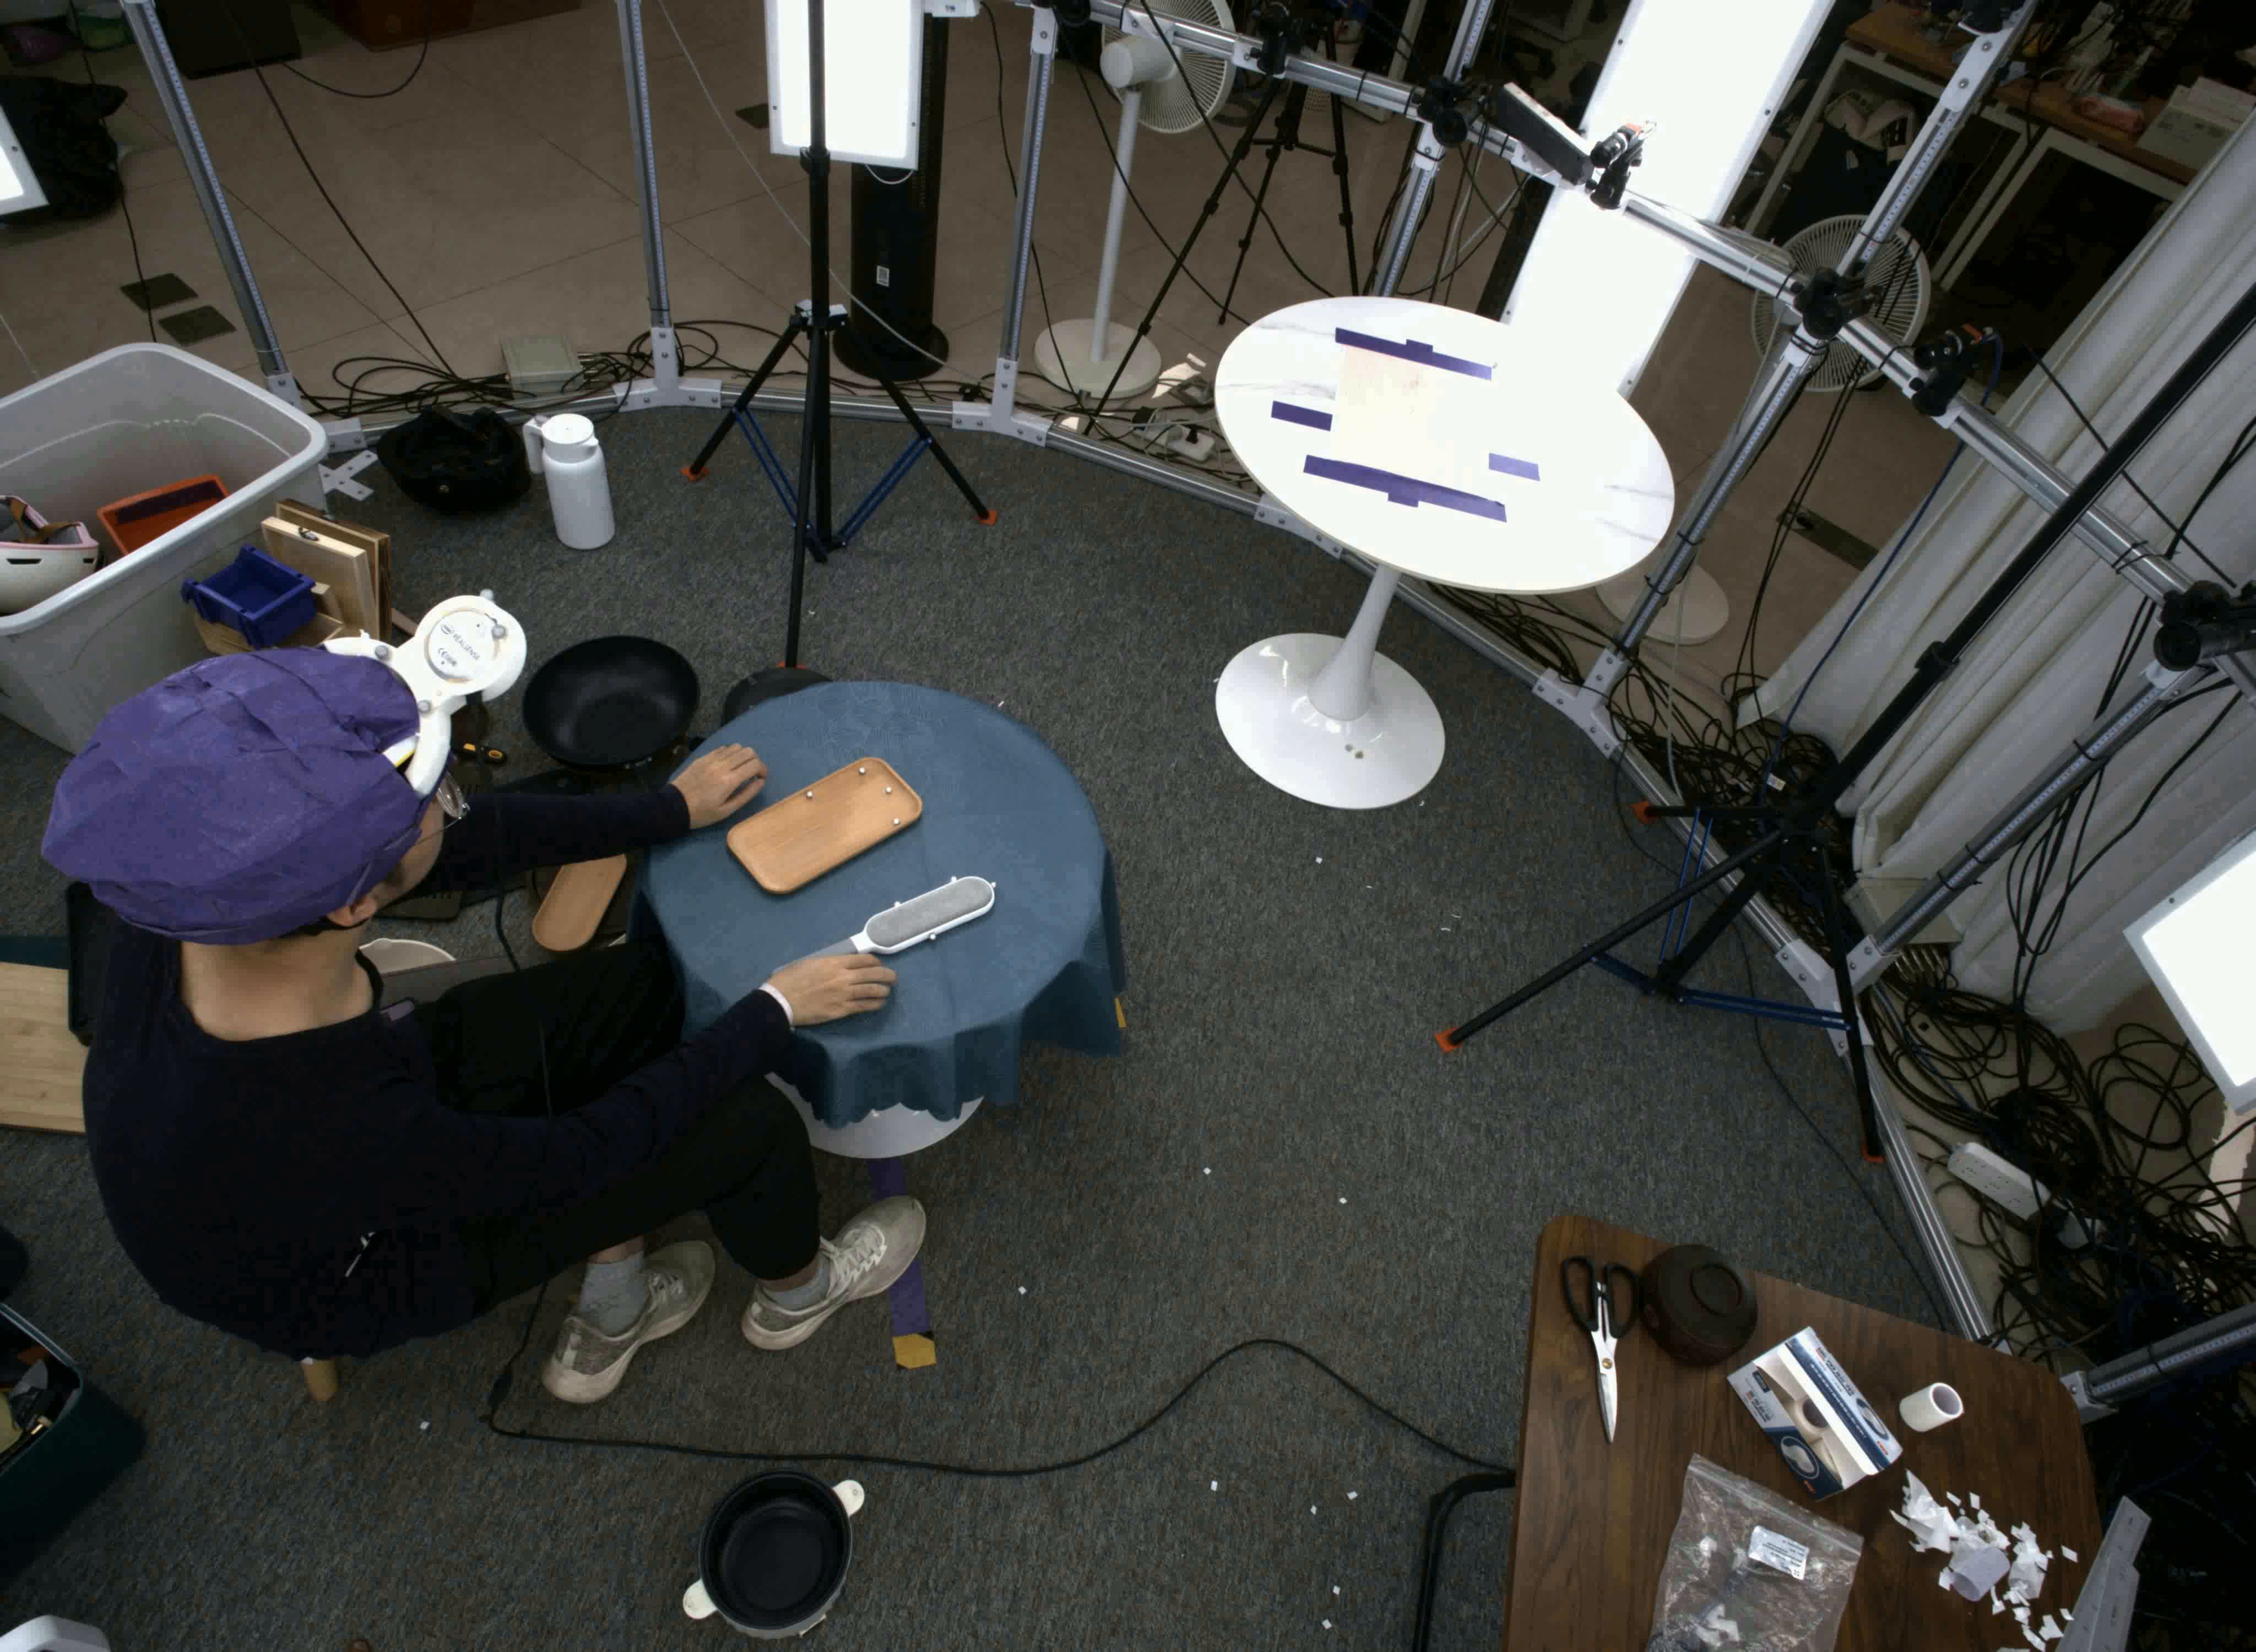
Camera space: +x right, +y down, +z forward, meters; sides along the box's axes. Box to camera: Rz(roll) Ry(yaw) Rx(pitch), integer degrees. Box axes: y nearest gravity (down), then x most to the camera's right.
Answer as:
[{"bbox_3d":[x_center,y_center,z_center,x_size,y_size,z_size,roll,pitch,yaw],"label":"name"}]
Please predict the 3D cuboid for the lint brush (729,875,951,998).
[{"bbox_3d":[-0.358,0.137,1.633,0.310,0.021,0.059,-26,69,-29],"label":"lint brush"}]

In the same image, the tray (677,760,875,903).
[{"bbox_3d":[-0.463,0.004,1.711,0.251,0.023,0.127,-34,66,-32],"label":"tray"}]
